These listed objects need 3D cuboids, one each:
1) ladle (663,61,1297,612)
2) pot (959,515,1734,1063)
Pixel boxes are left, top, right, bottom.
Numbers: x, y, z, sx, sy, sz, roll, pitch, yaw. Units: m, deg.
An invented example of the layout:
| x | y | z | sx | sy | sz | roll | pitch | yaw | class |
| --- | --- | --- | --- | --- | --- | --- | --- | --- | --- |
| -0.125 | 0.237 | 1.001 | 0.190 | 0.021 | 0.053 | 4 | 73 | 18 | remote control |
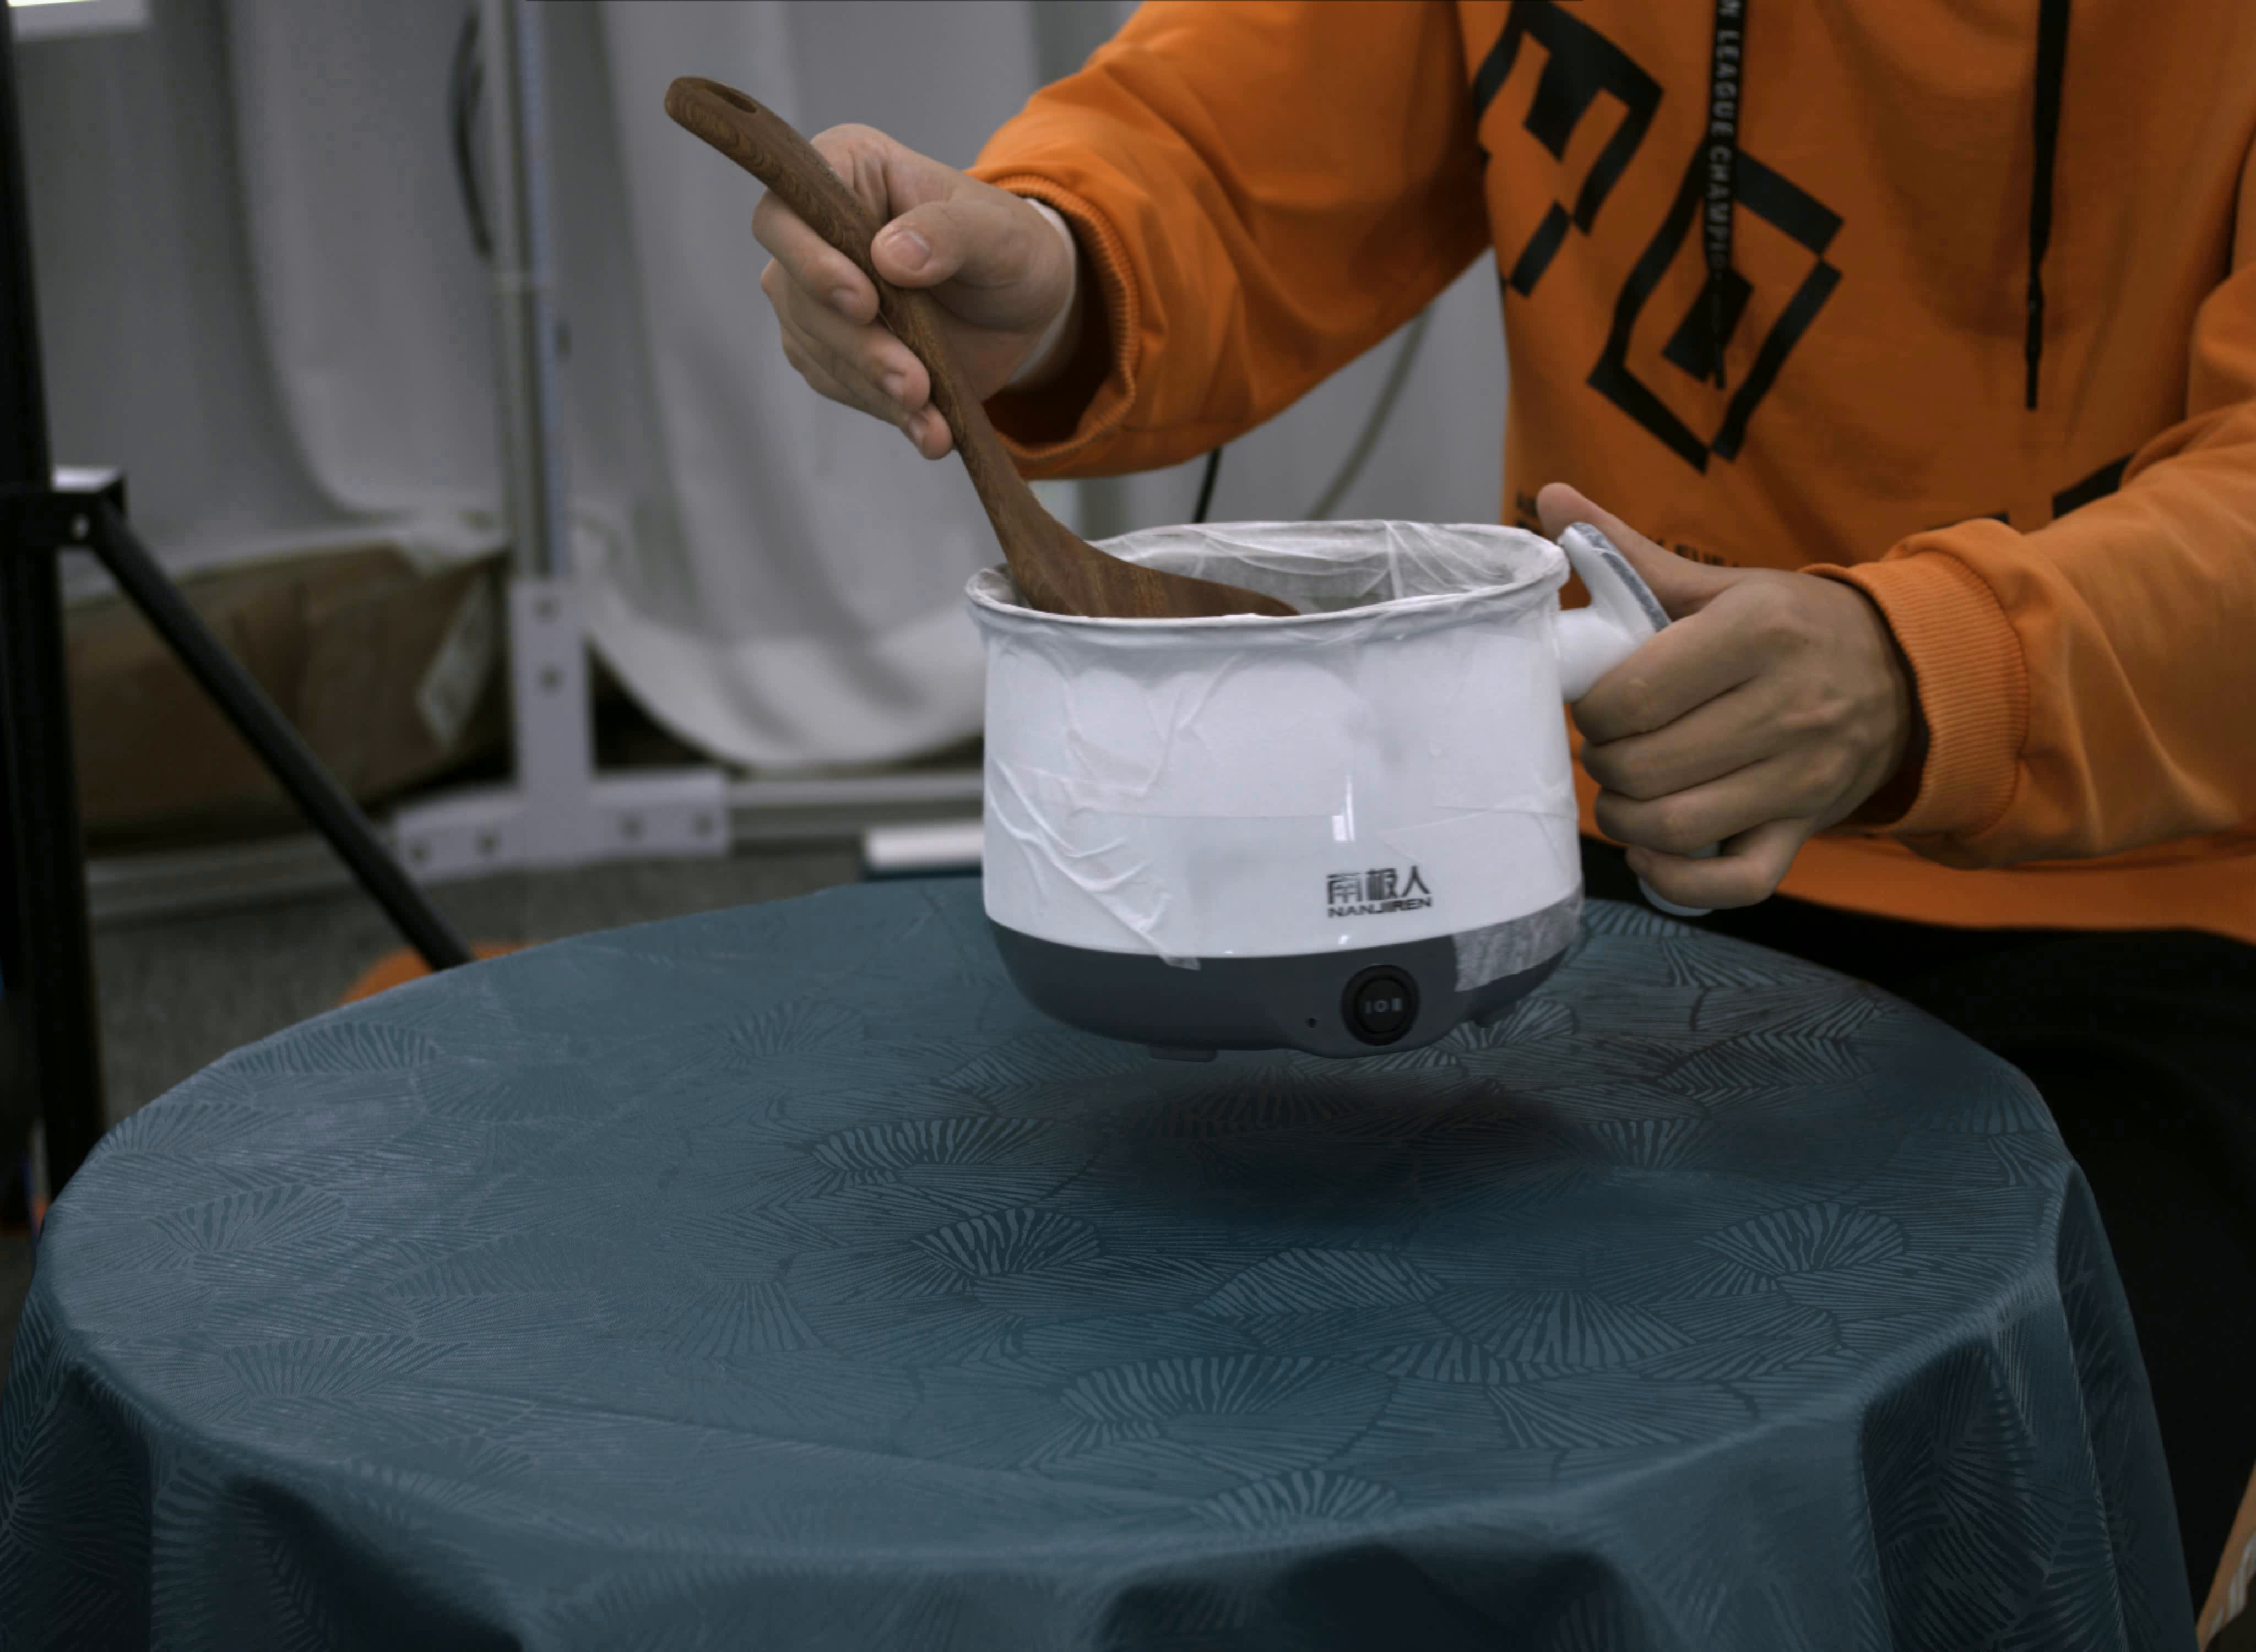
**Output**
| x | y | z | sx | sy | sz | roll | pitch | yaw | class |
| --- | --- | --- | --- | --- | --- | --- | --- | --- | --- |
| -0.043 | -0.137 | 1.580 | 0.065 | 0.262 | 0.075 | -39 | -9 | 23 | ladle |
| 0.068 | -0.017 | 1.577 | 0.230 | 0.137 | 0.181 | -7 | 13 | -16 | pot |
